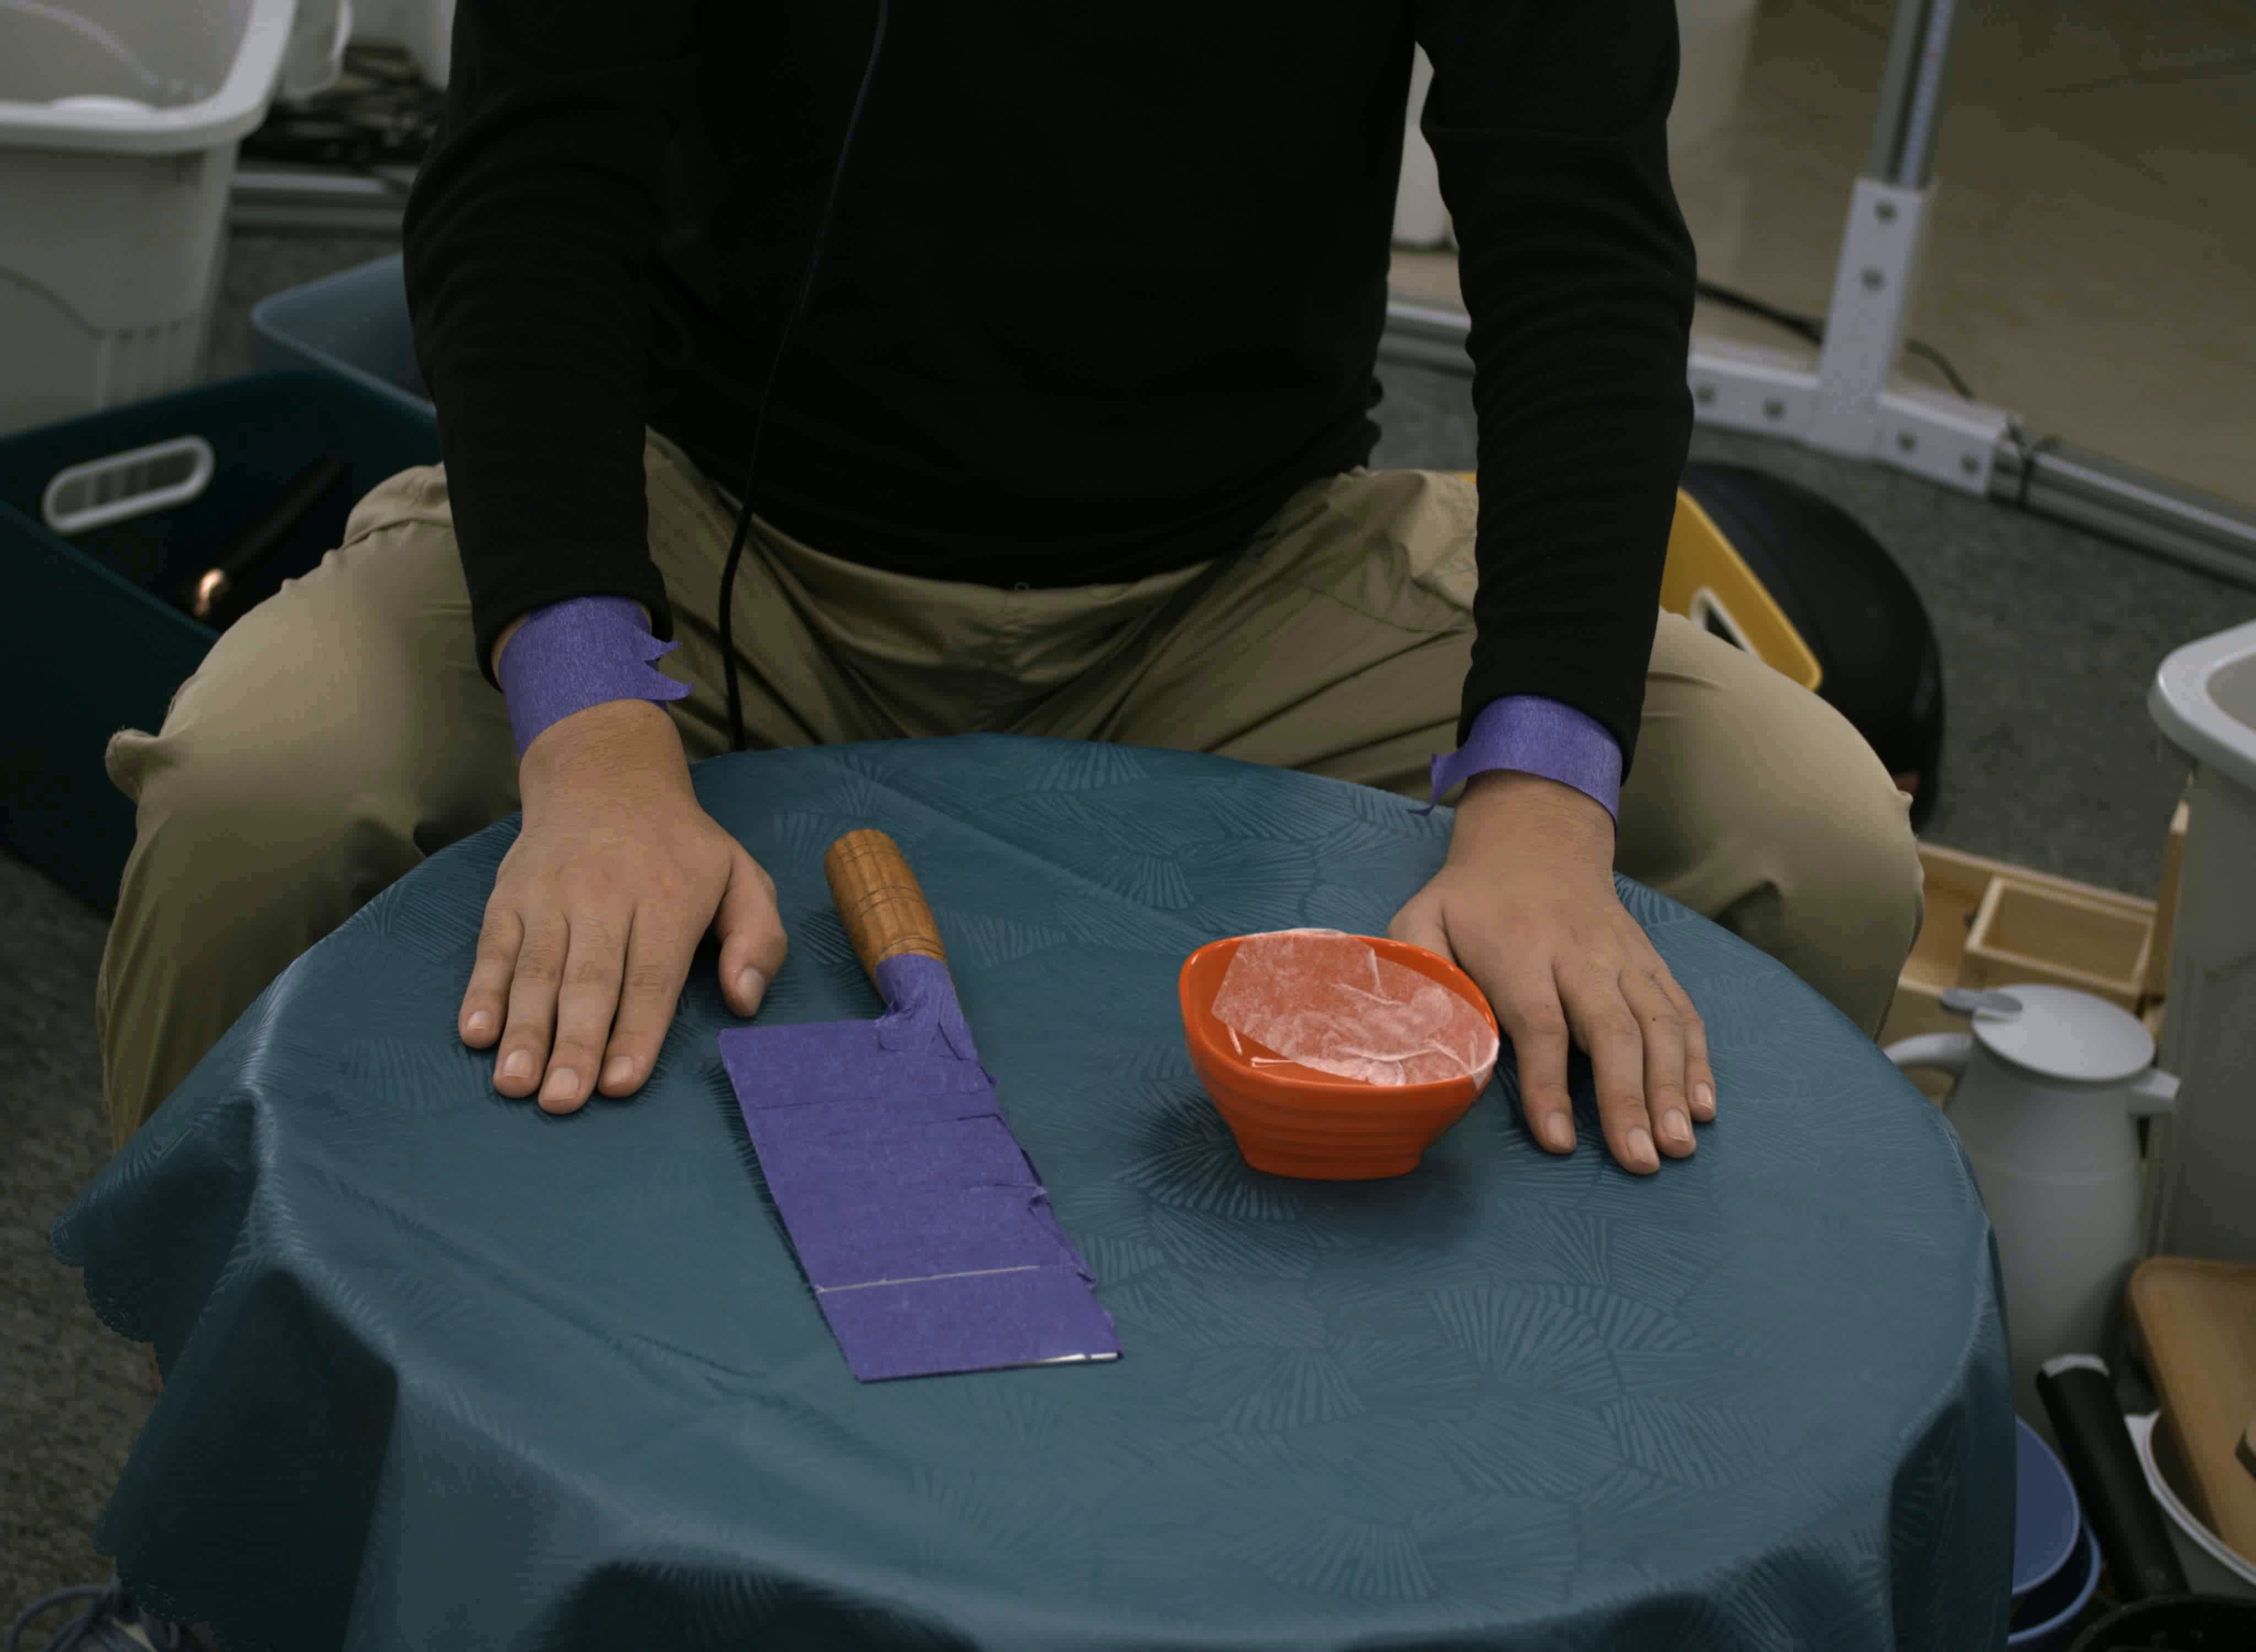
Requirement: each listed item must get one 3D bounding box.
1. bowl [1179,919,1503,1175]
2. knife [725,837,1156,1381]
[{"bbox_3d":[0.071,0.081,1.842,0.118,0.051,0.120,4,30,-3],"label":"bowl"},{"bbox_3d":[-0.084,0.092,1.820,0.103,0.032,0.318,-2,29,-18],"label":"knife"}]
